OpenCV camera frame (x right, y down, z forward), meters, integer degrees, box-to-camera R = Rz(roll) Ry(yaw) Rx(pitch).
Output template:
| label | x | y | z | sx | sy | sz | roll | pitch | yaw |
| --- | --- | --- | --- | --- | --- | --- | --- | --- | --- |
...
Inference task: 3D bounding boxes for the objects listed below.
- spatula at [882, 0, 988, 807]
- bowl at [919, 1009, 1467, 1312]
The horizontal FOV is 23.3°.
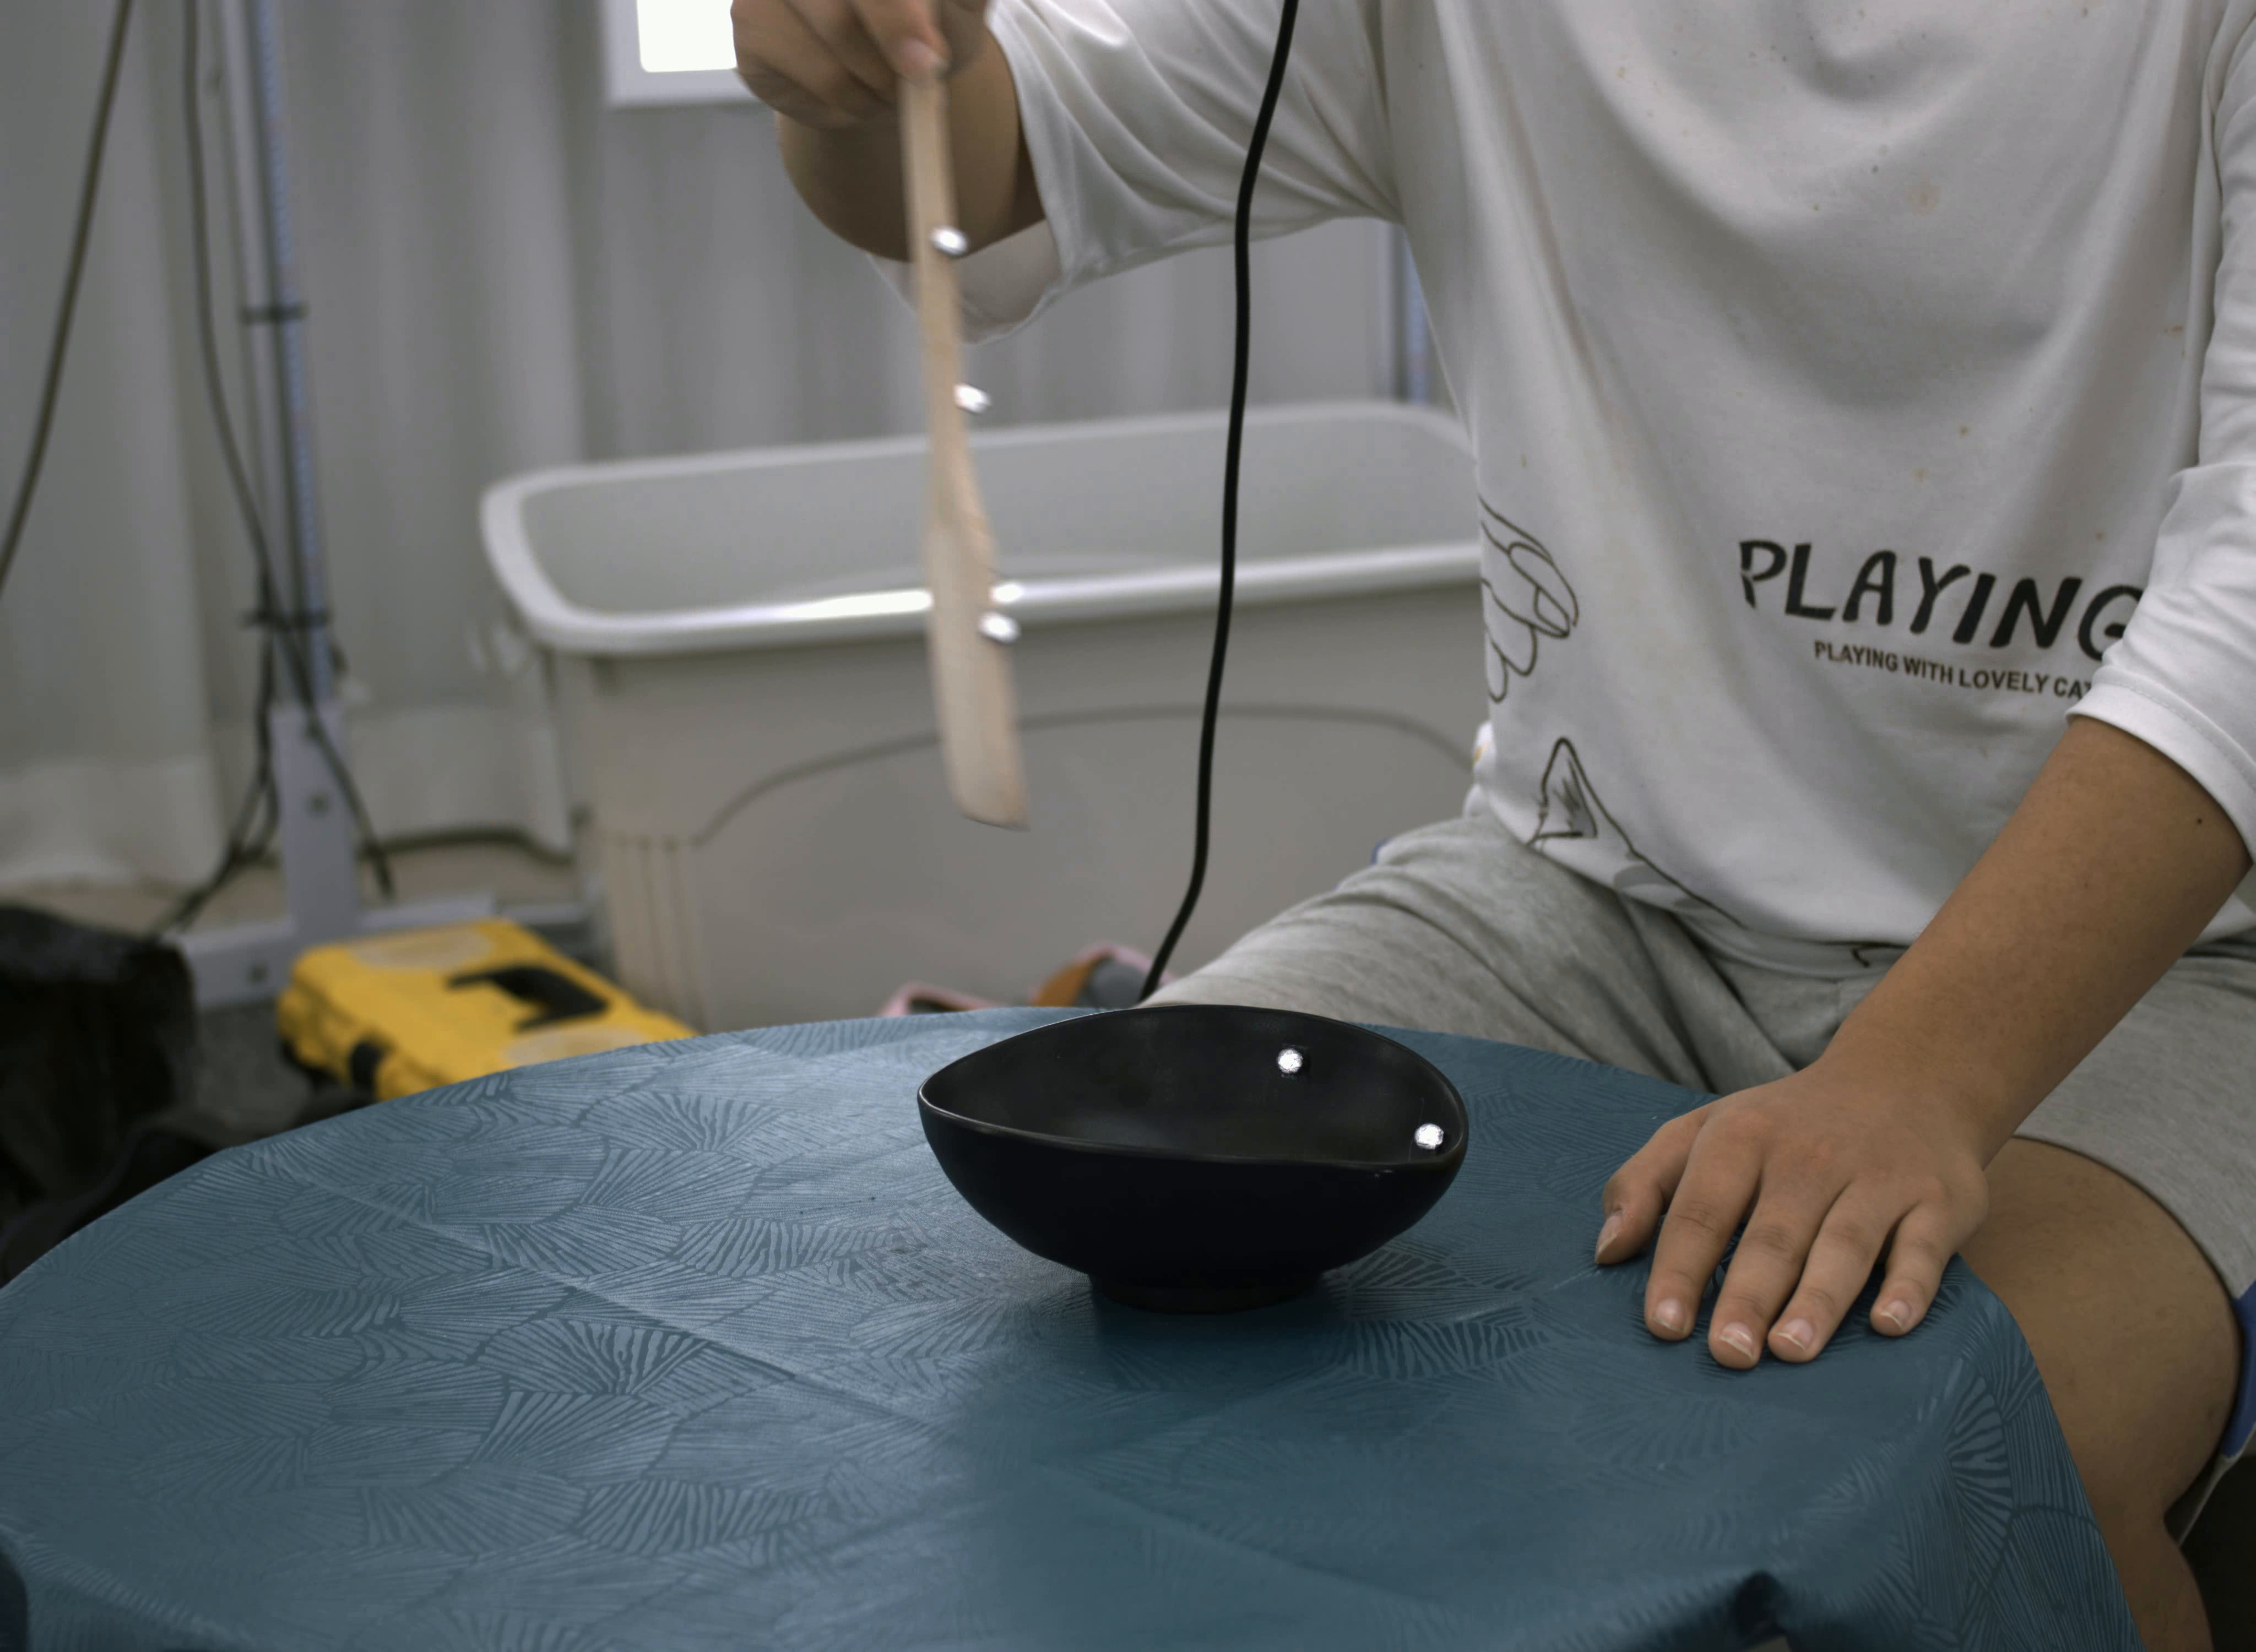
| label | x | y | z | sx | sy | sz | roll | pitch | yaw |
| --- | --- | --- | --- | --- | --- | --- | --- | --- | --- |
| spatula | -0.061 | -0.151 | 1.614 | 0.010 | 0.293 | 0.072 | -4 | 2 | -13 |
| bowl | 0.020 | 0.104 | 1.632 | 0.170 | 0.066 | 0.137 | 5 | 16 | 21 |
